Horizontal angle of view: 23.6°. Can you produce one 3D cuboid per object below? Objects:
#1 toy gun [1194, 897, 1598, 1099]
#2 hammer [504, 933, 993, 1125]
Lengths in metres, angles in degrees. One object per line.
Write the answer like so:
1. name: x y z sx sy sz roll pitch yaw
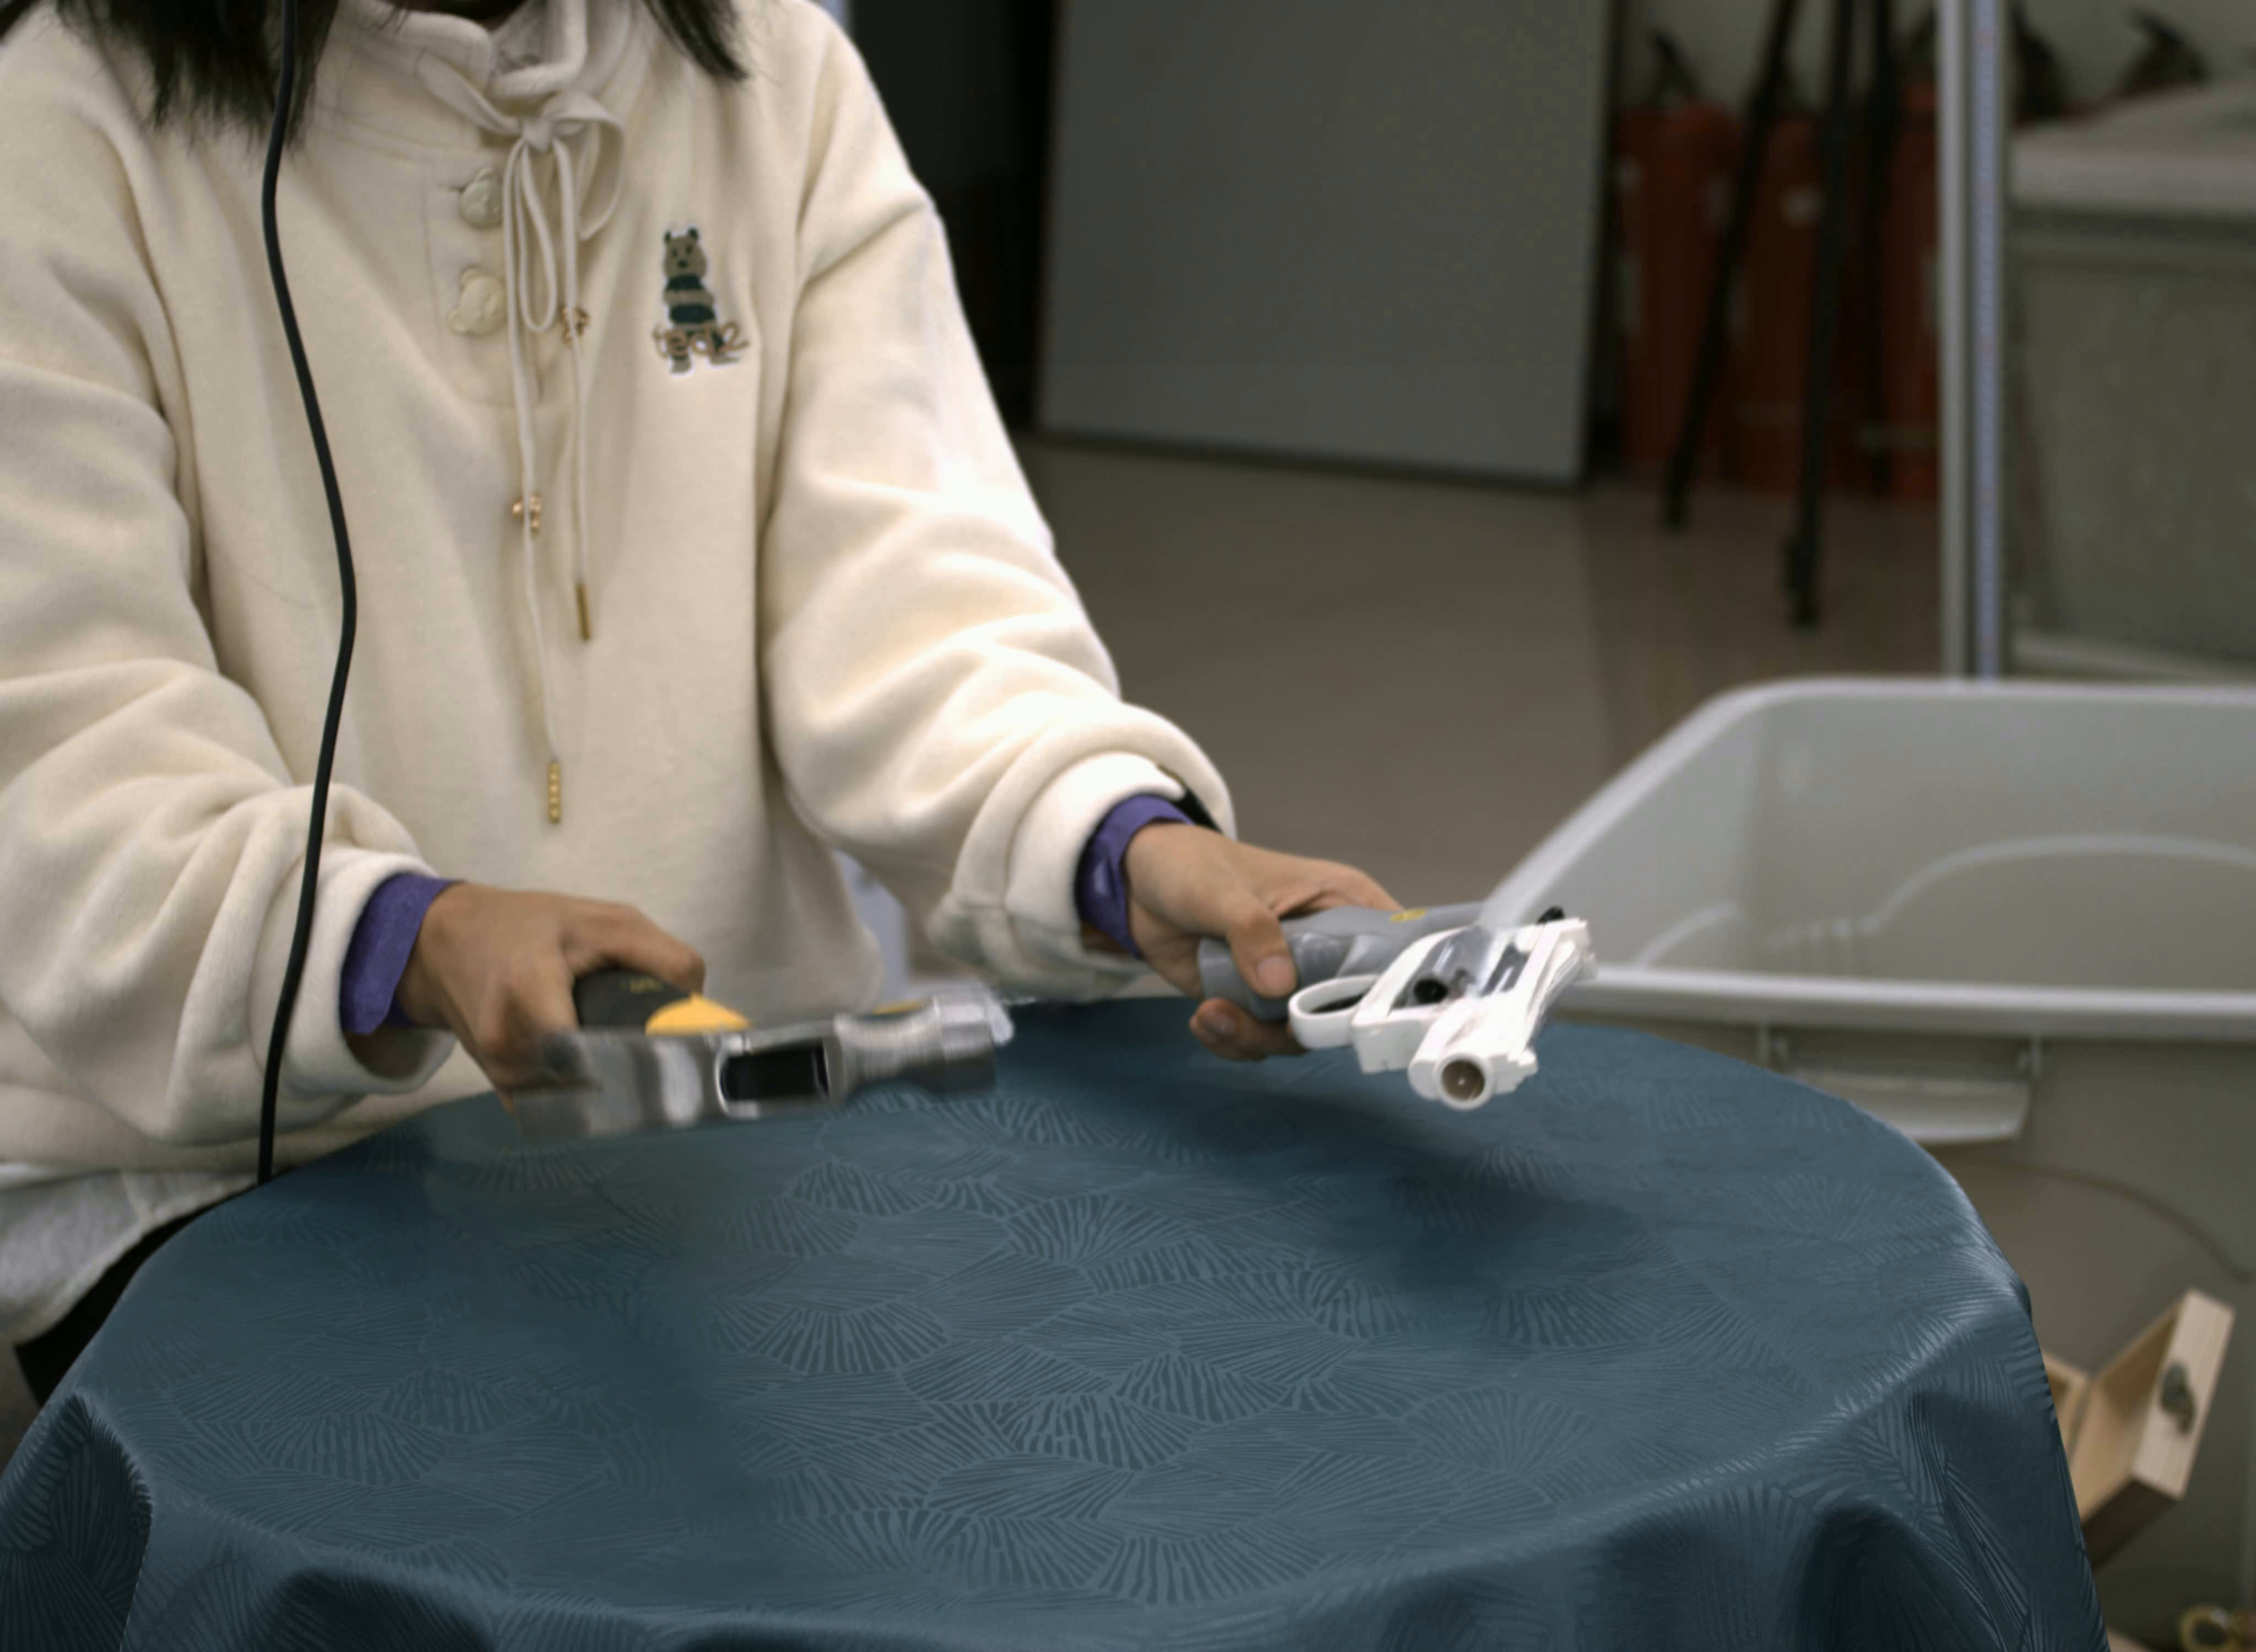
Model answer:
1. toy gun: 0.080 0.055 1.738 0.141 0.039 0.208 -10 12 13
2. hammer: -0.141 0.055 1.656 0.129 0.032 0.340 -9 4 -14
